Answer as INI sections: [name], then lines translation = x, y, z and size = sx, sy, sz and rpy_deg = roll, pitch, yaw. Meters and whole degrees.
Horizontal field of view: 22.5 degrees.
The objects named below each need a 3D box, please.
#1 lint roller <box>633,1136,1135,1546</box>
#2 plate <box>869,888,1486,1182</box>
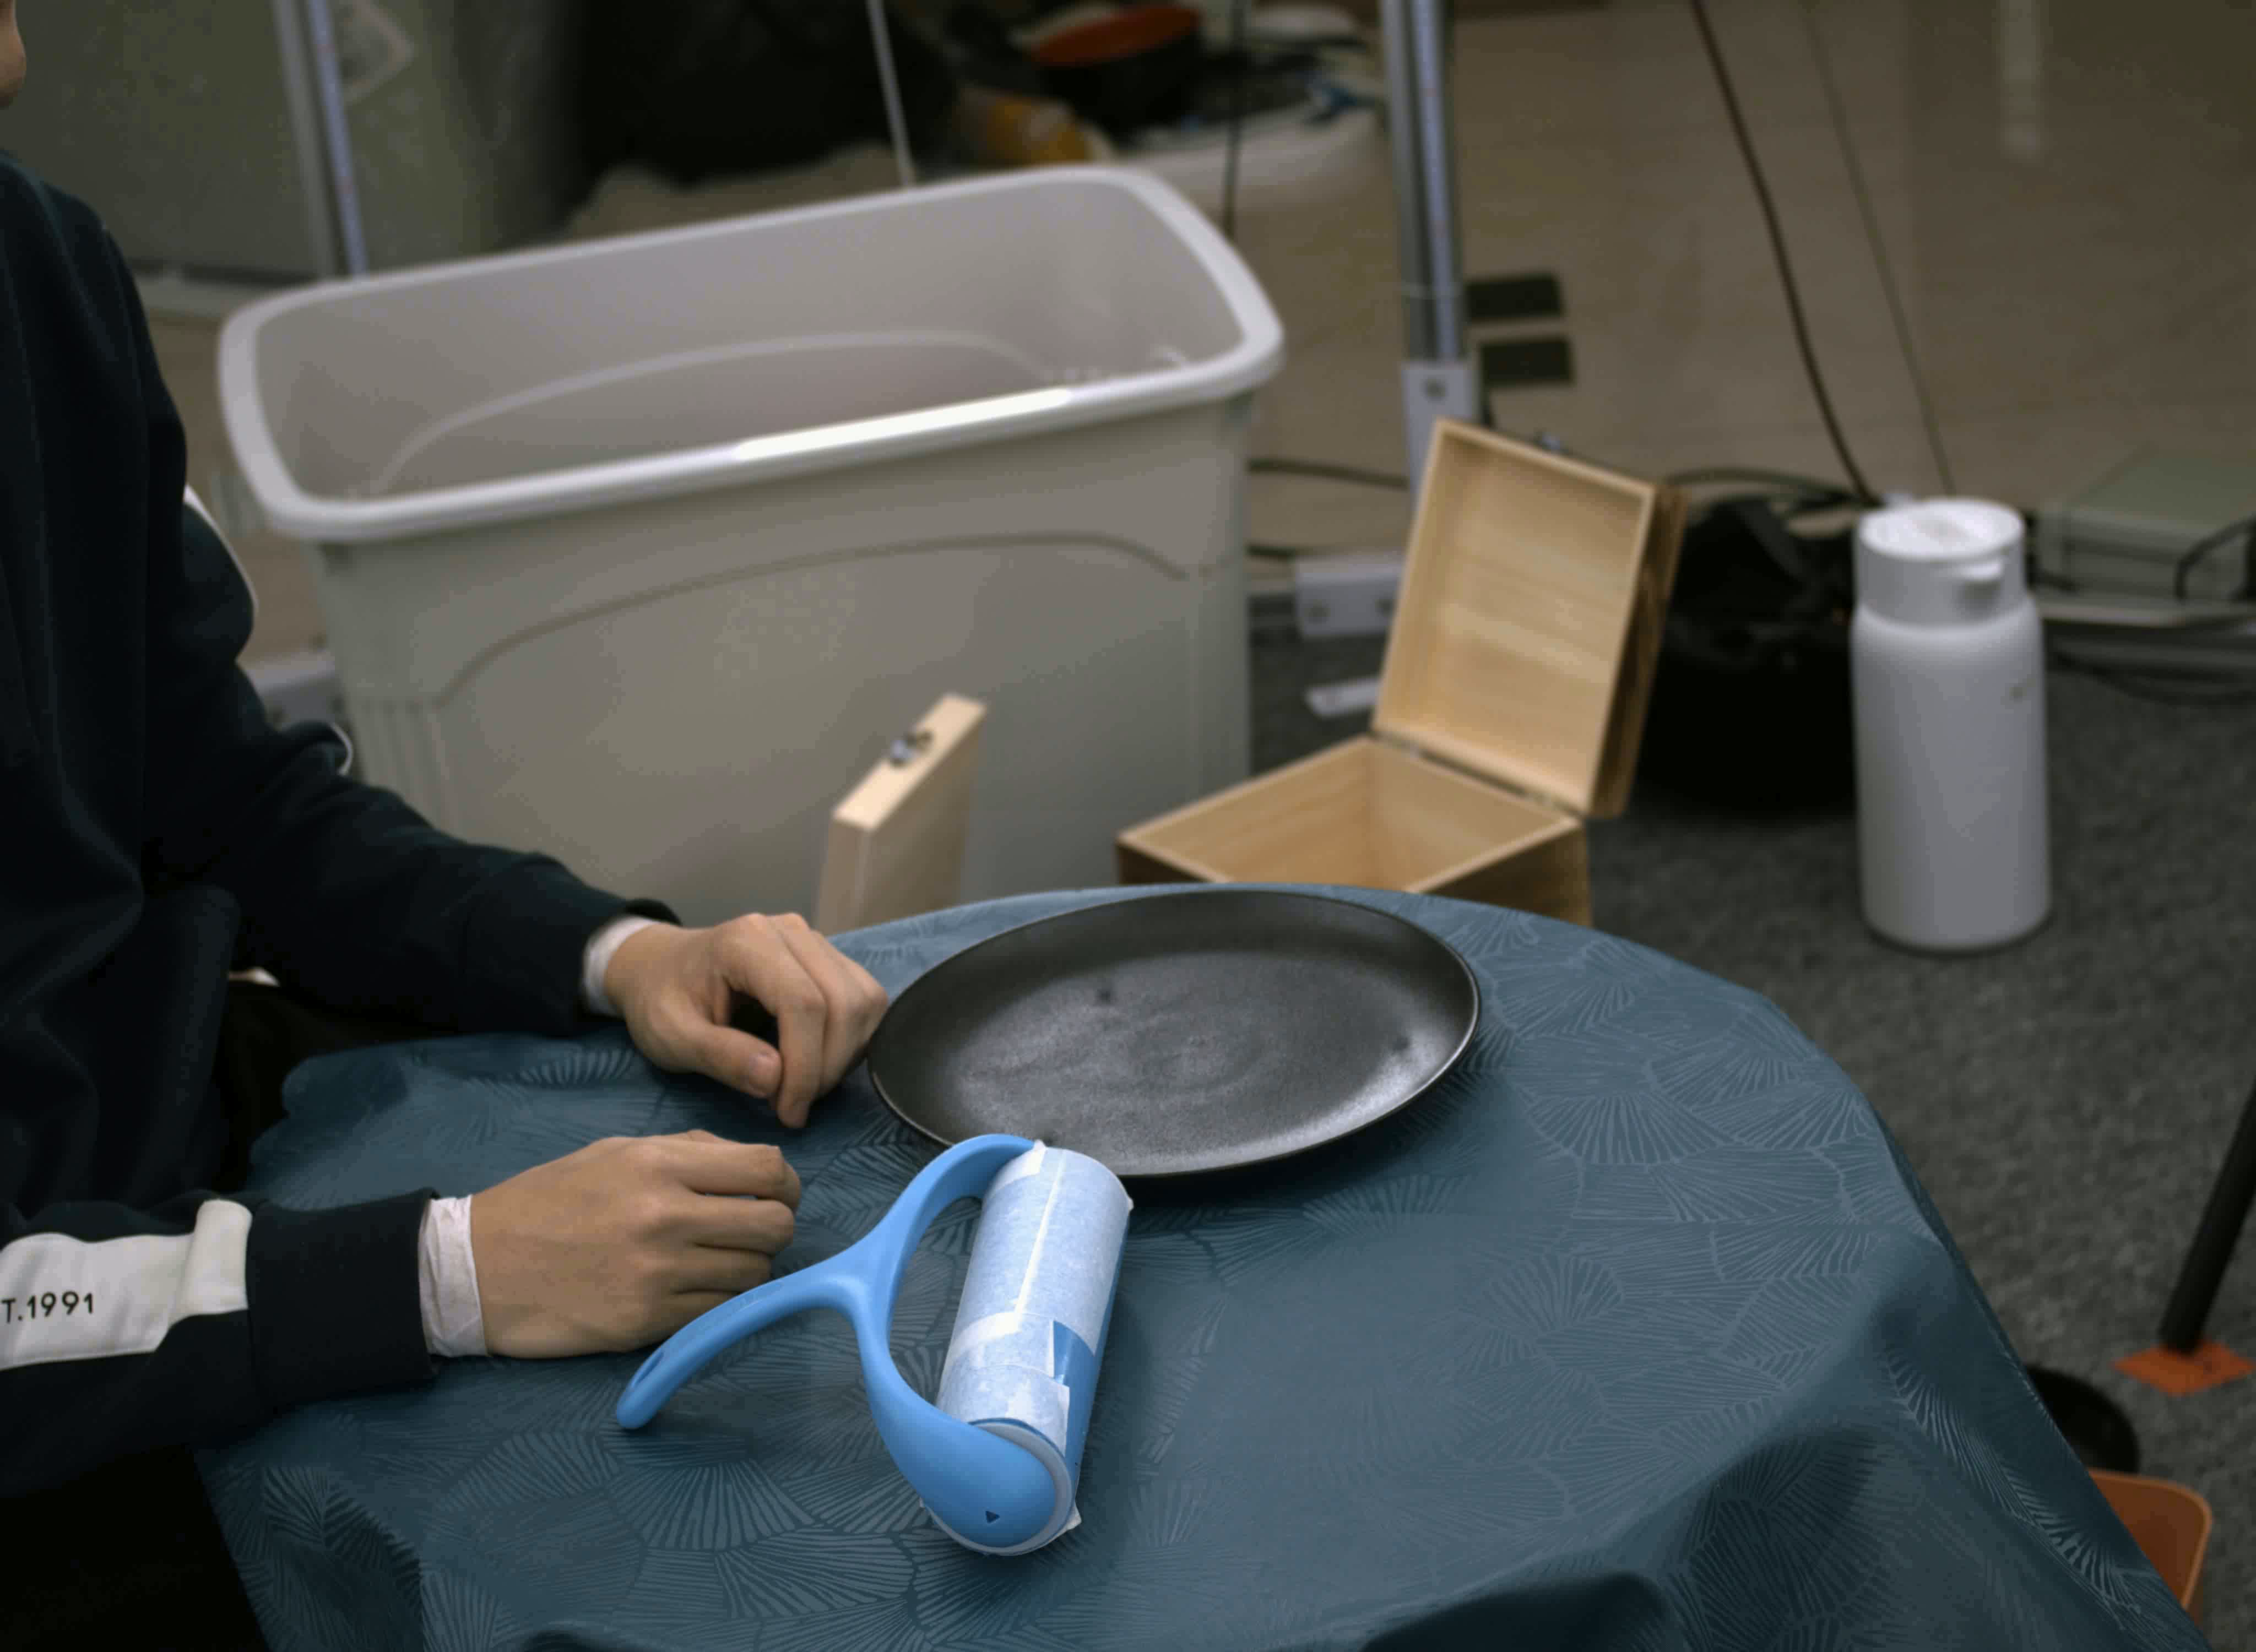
[lint roller]
translation = -0.091, 0.185, 2.001
size = 0.180, 0.069, 0.225
rpy_deg = -5, 26, 5
[plate]
translation = 0.020, 0.087, 2.224
size = 0.244, 0.024, 0.241
rpy_deg = -6, 25, 3
